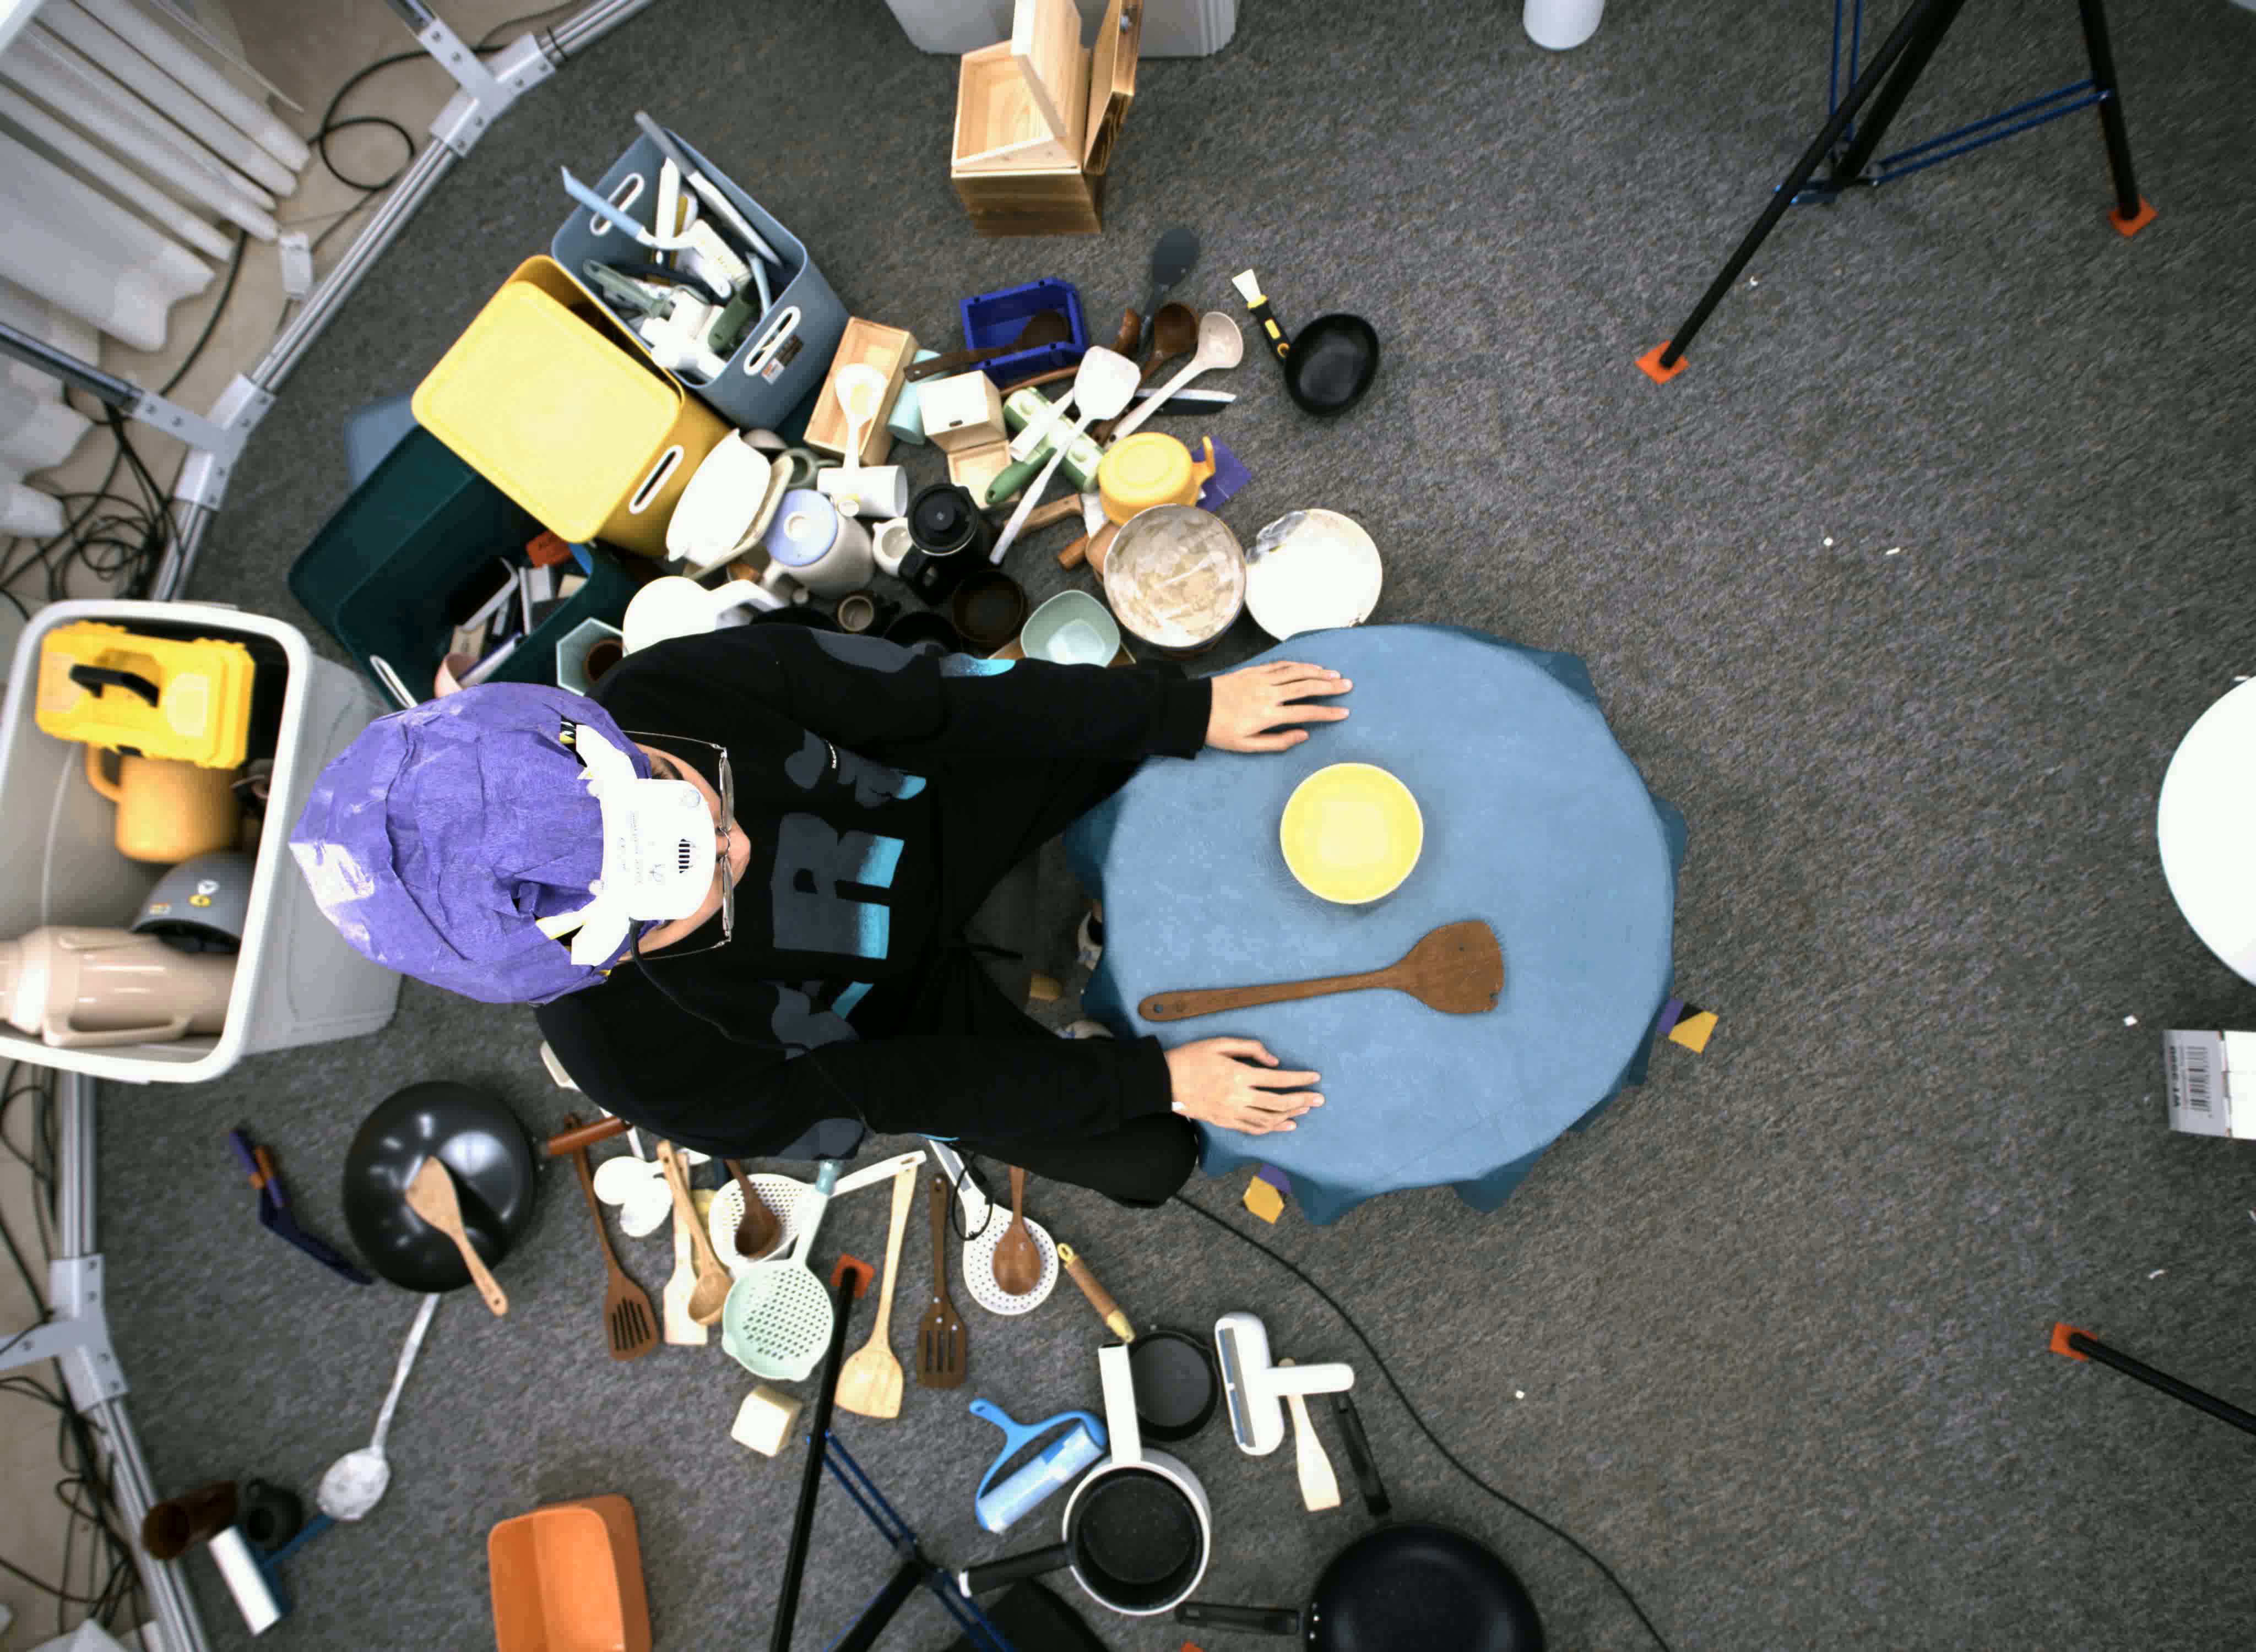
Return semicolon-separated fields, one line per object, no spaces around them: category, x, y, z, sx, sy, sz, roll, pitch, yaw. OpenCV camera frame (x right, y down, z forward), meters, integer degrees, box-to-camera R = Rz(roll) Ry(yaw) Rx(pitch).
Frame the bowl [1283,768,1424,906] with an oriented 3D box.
bowl;0.236;0.014;1.447;0.146;0.060;0.144;-2;83;11

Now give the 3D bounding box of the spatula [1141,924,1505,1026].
spatula;0.202;0.173;1.464;0.388;0.016;0.095;-9;84;10
